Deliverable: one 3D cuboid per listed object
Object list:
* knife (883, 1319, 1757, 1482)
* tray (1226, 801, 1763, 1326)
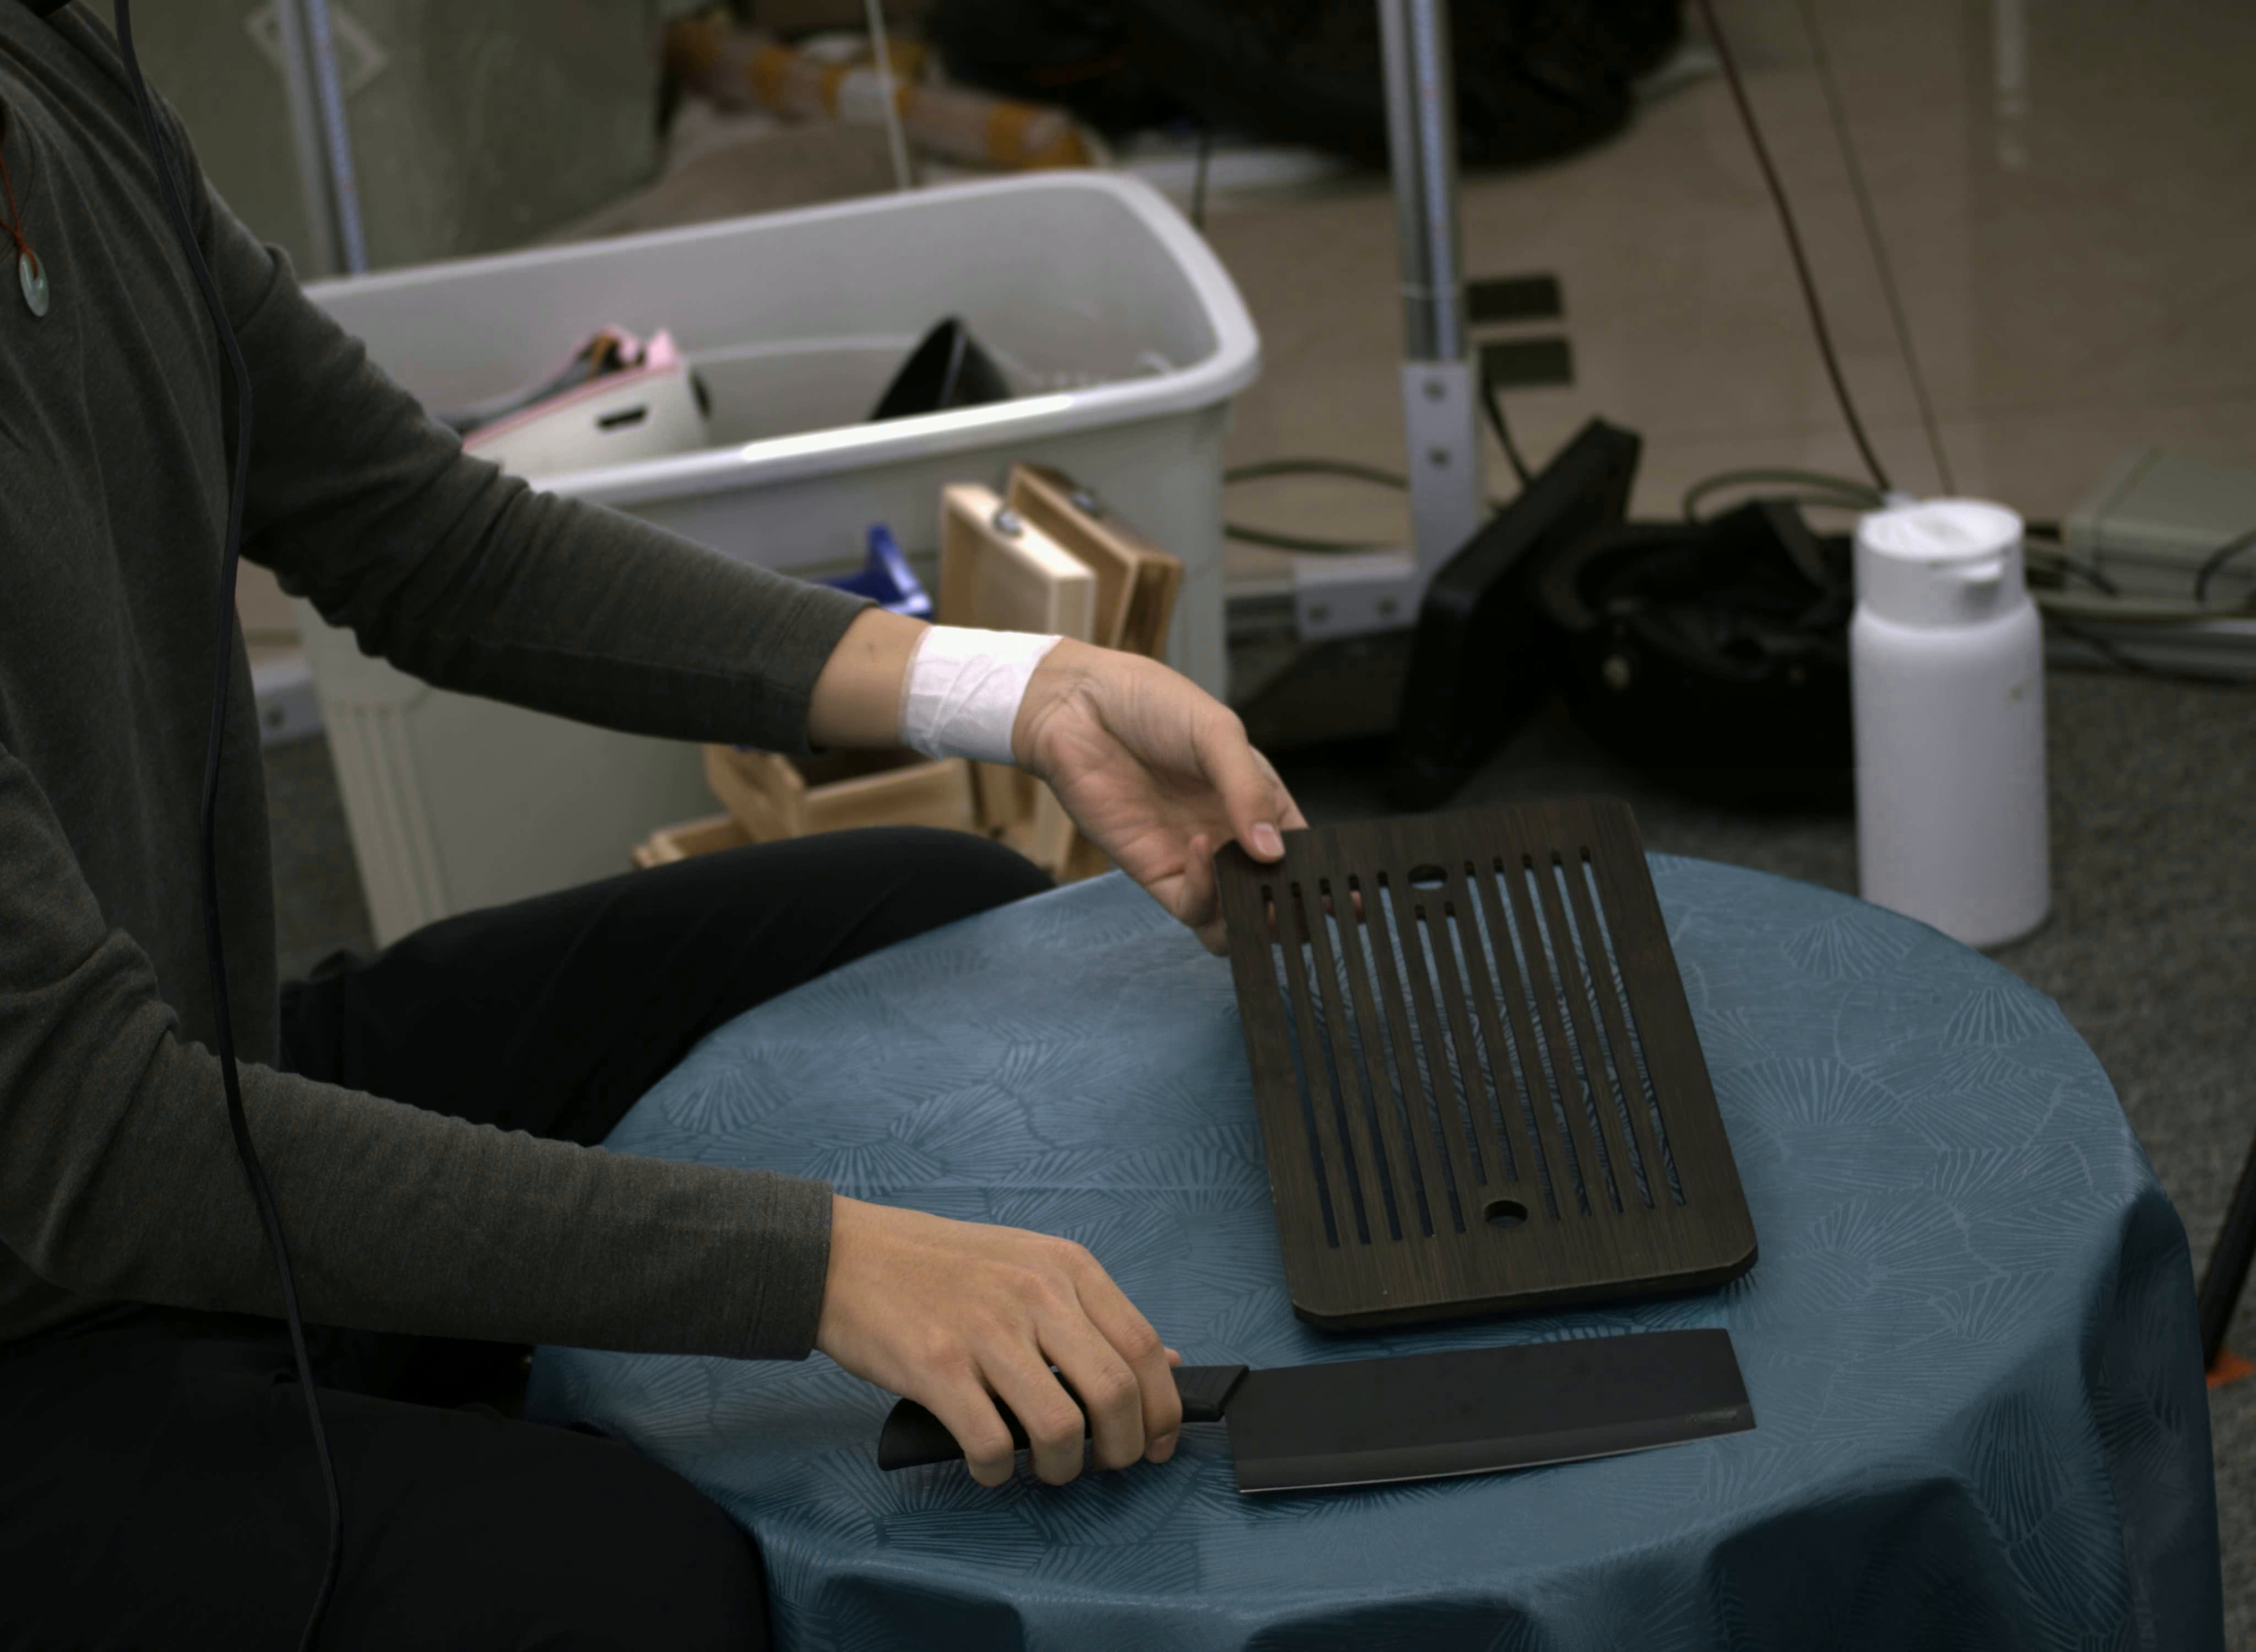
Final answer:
[{"bbox_3d":[0.066,0.204,1.971,0.302,0.021,0.079,-4,32,0],"label":"knife"},{"bbox_3d":[0.134,0.088,2.154,0.170,0.019,0.300,-7,34,-1],"label":"tray"}]
